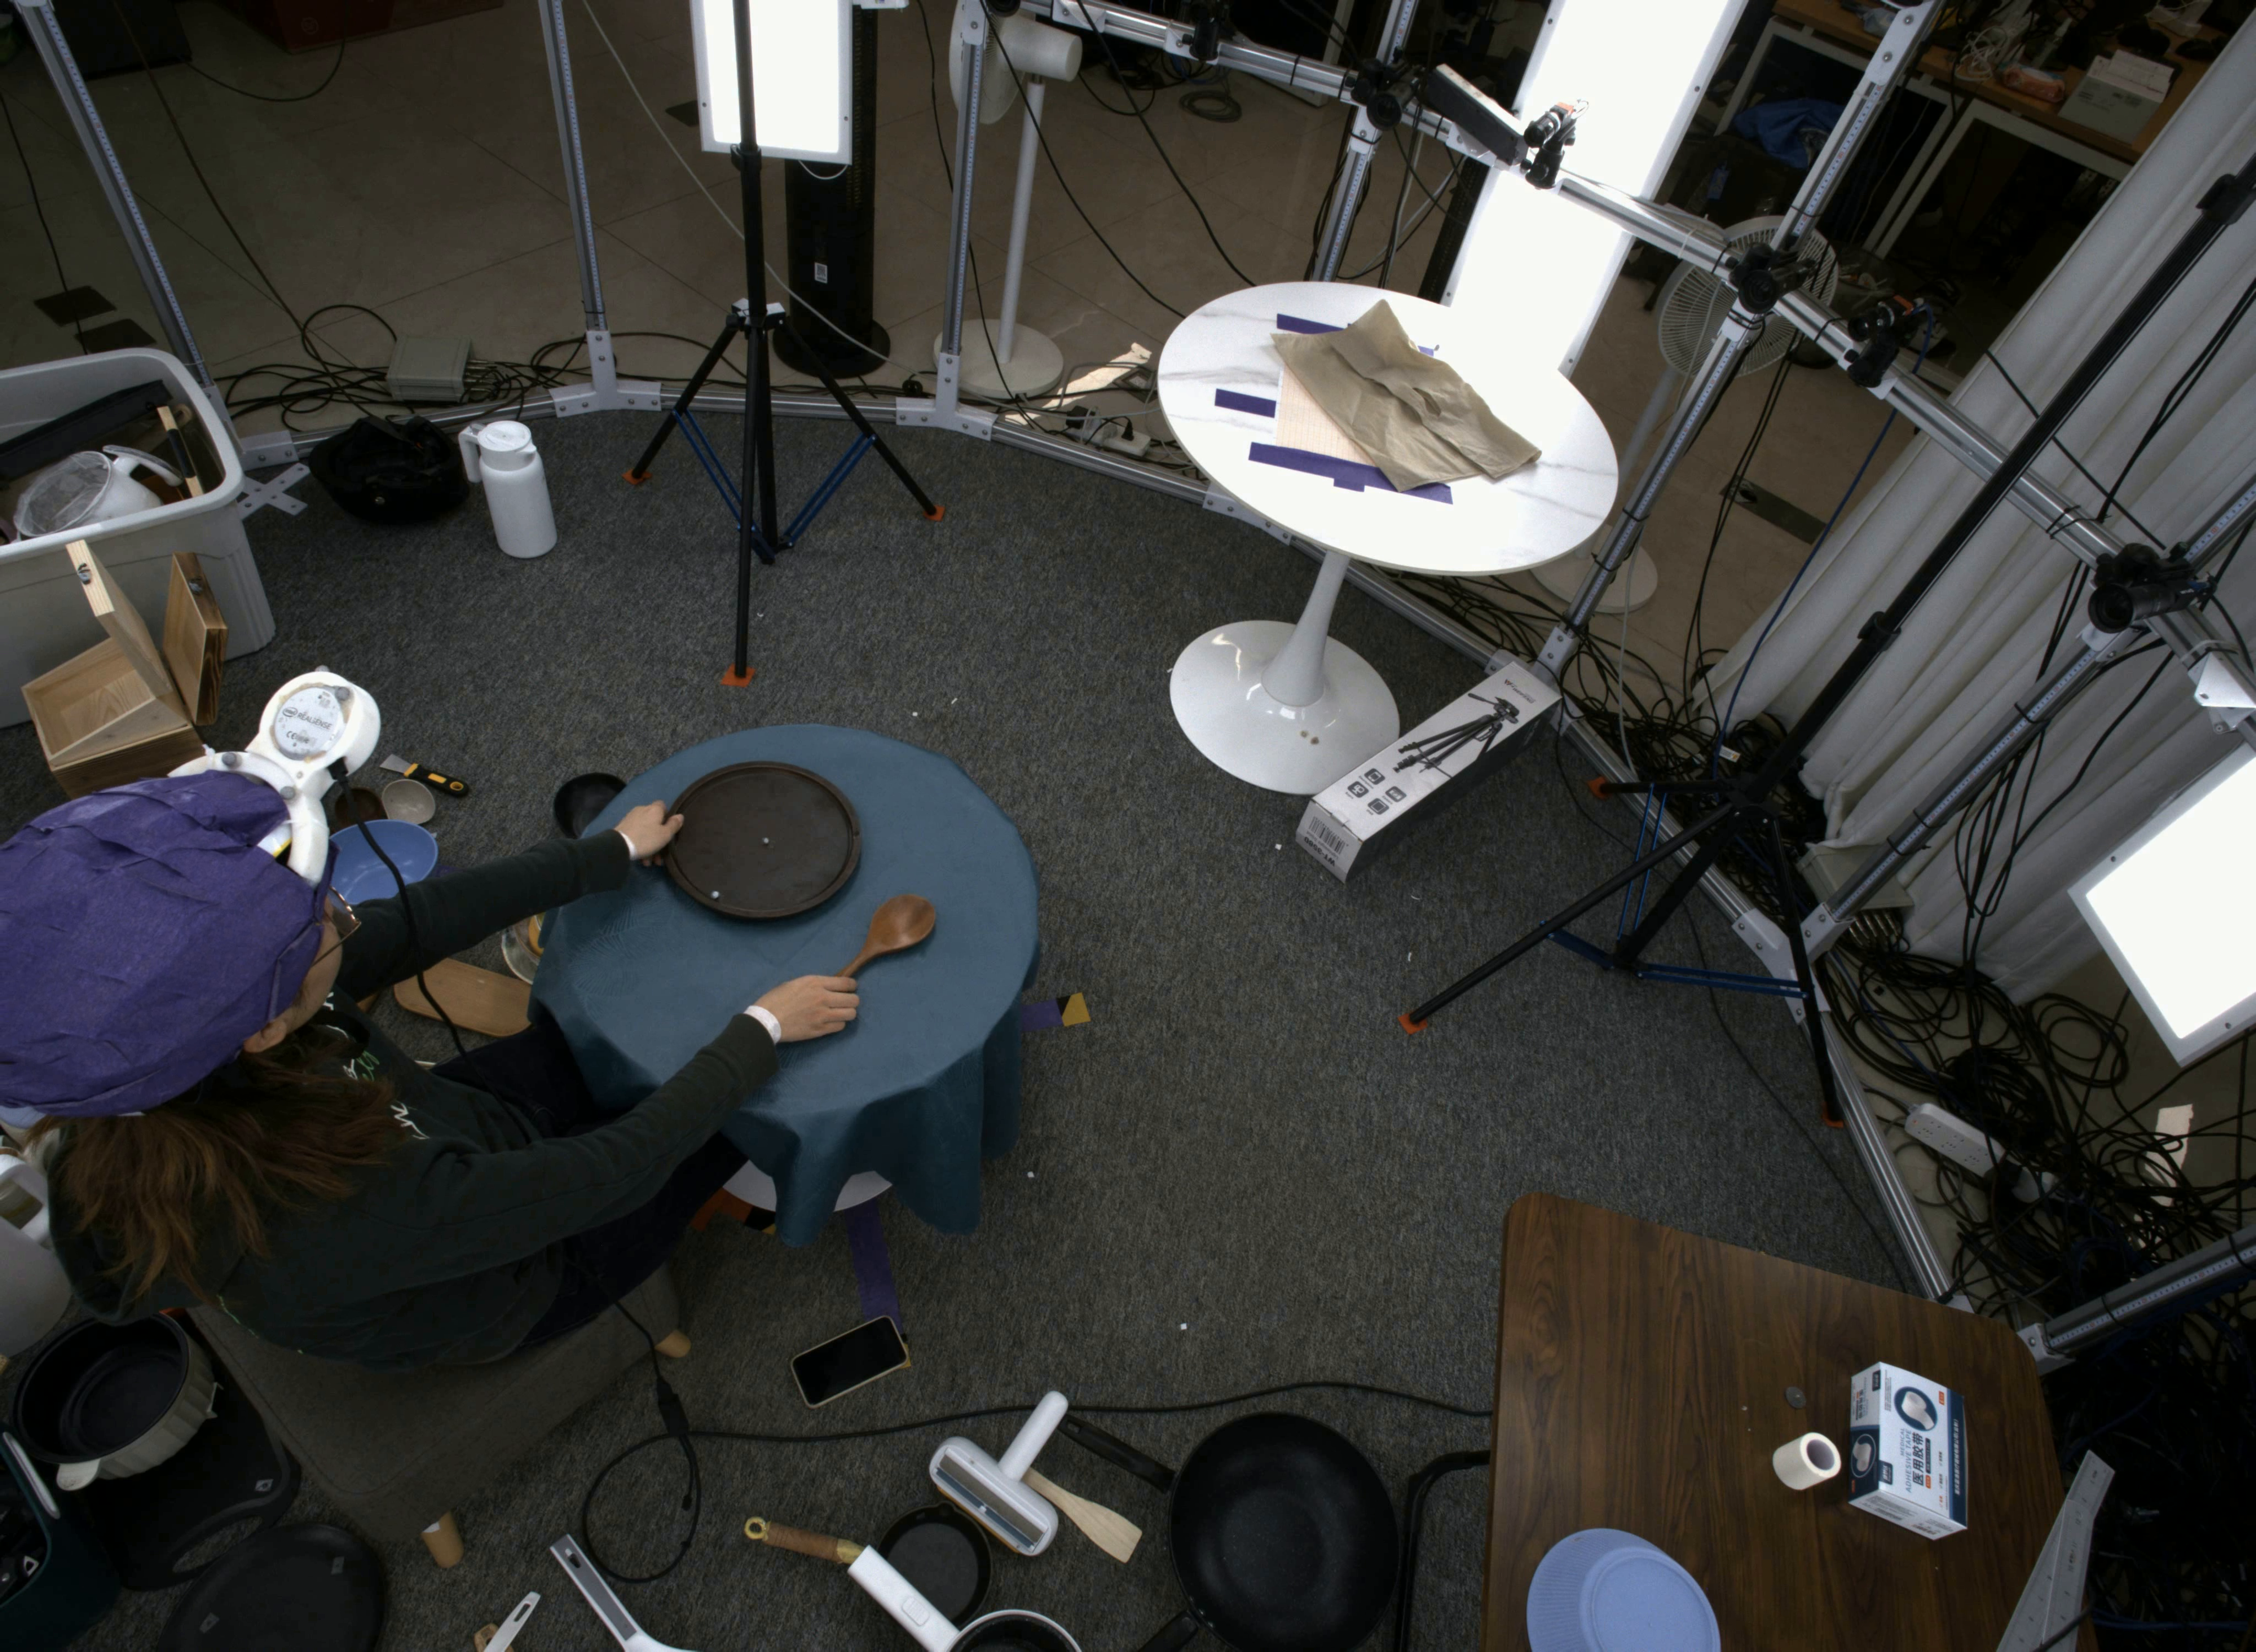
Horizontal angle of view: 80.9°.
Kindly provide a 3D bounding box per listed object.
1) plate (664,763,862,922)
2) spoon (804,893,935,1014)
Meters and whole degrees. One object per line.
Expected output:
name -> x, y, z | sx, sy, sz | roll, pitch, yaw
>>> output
plate -> -0.474, 0.018, 1.685 | 0.255, 0.029, 0.250 | 9, 51, -10
spoon -> -0.324, 0.158, 1.624 | 0.074, 0.017, 0.216 | 35, 52, 13
